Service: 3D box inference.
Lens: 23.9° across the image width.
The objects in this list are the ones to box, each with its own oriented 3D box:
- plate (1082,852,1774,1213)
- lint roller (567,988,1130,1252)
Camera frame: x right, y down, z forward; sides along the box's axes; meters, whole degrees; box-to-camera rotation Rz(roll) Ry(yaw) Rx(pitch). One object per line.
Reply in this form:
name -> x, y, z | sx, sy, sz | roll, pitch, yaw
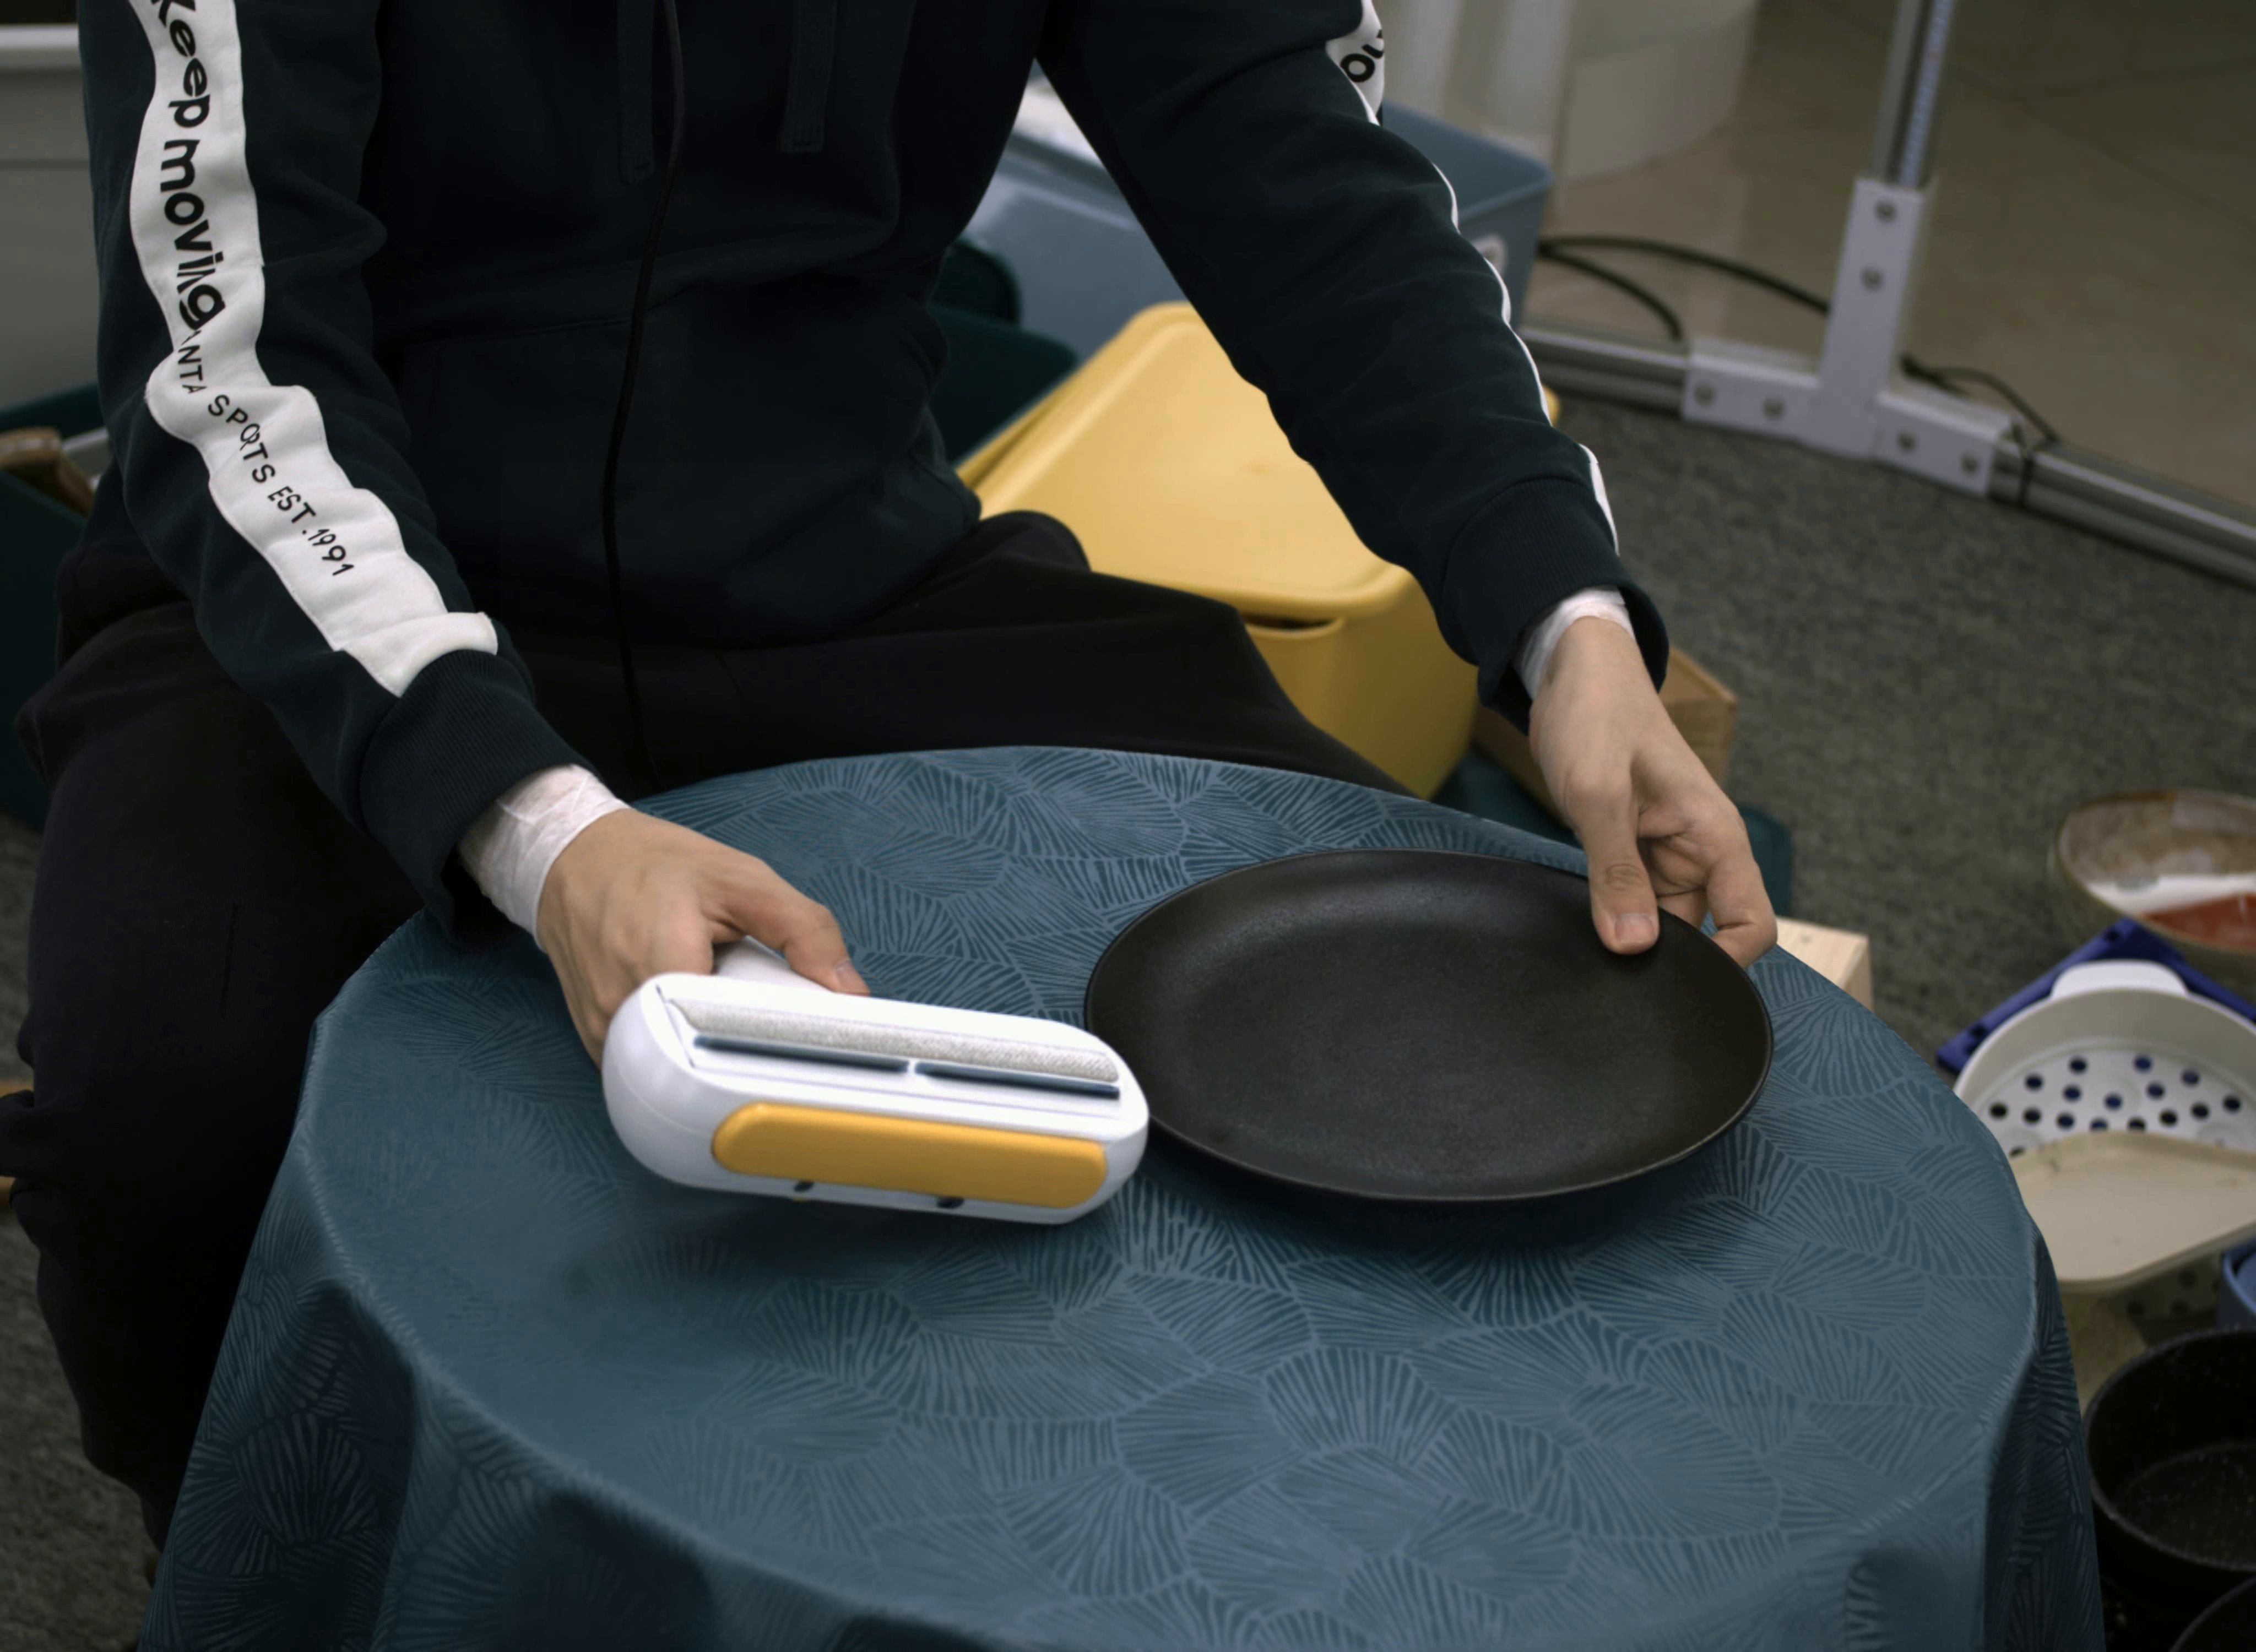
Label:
plate -> 0.105, 0.076, 1.873 | 0.243, 0.023, 0.246 | 0, 29, -1
lint roller -> -0.113, 0.087, 1.796 | 0.191, 0.074, 0.194 | 7, 13, -24
